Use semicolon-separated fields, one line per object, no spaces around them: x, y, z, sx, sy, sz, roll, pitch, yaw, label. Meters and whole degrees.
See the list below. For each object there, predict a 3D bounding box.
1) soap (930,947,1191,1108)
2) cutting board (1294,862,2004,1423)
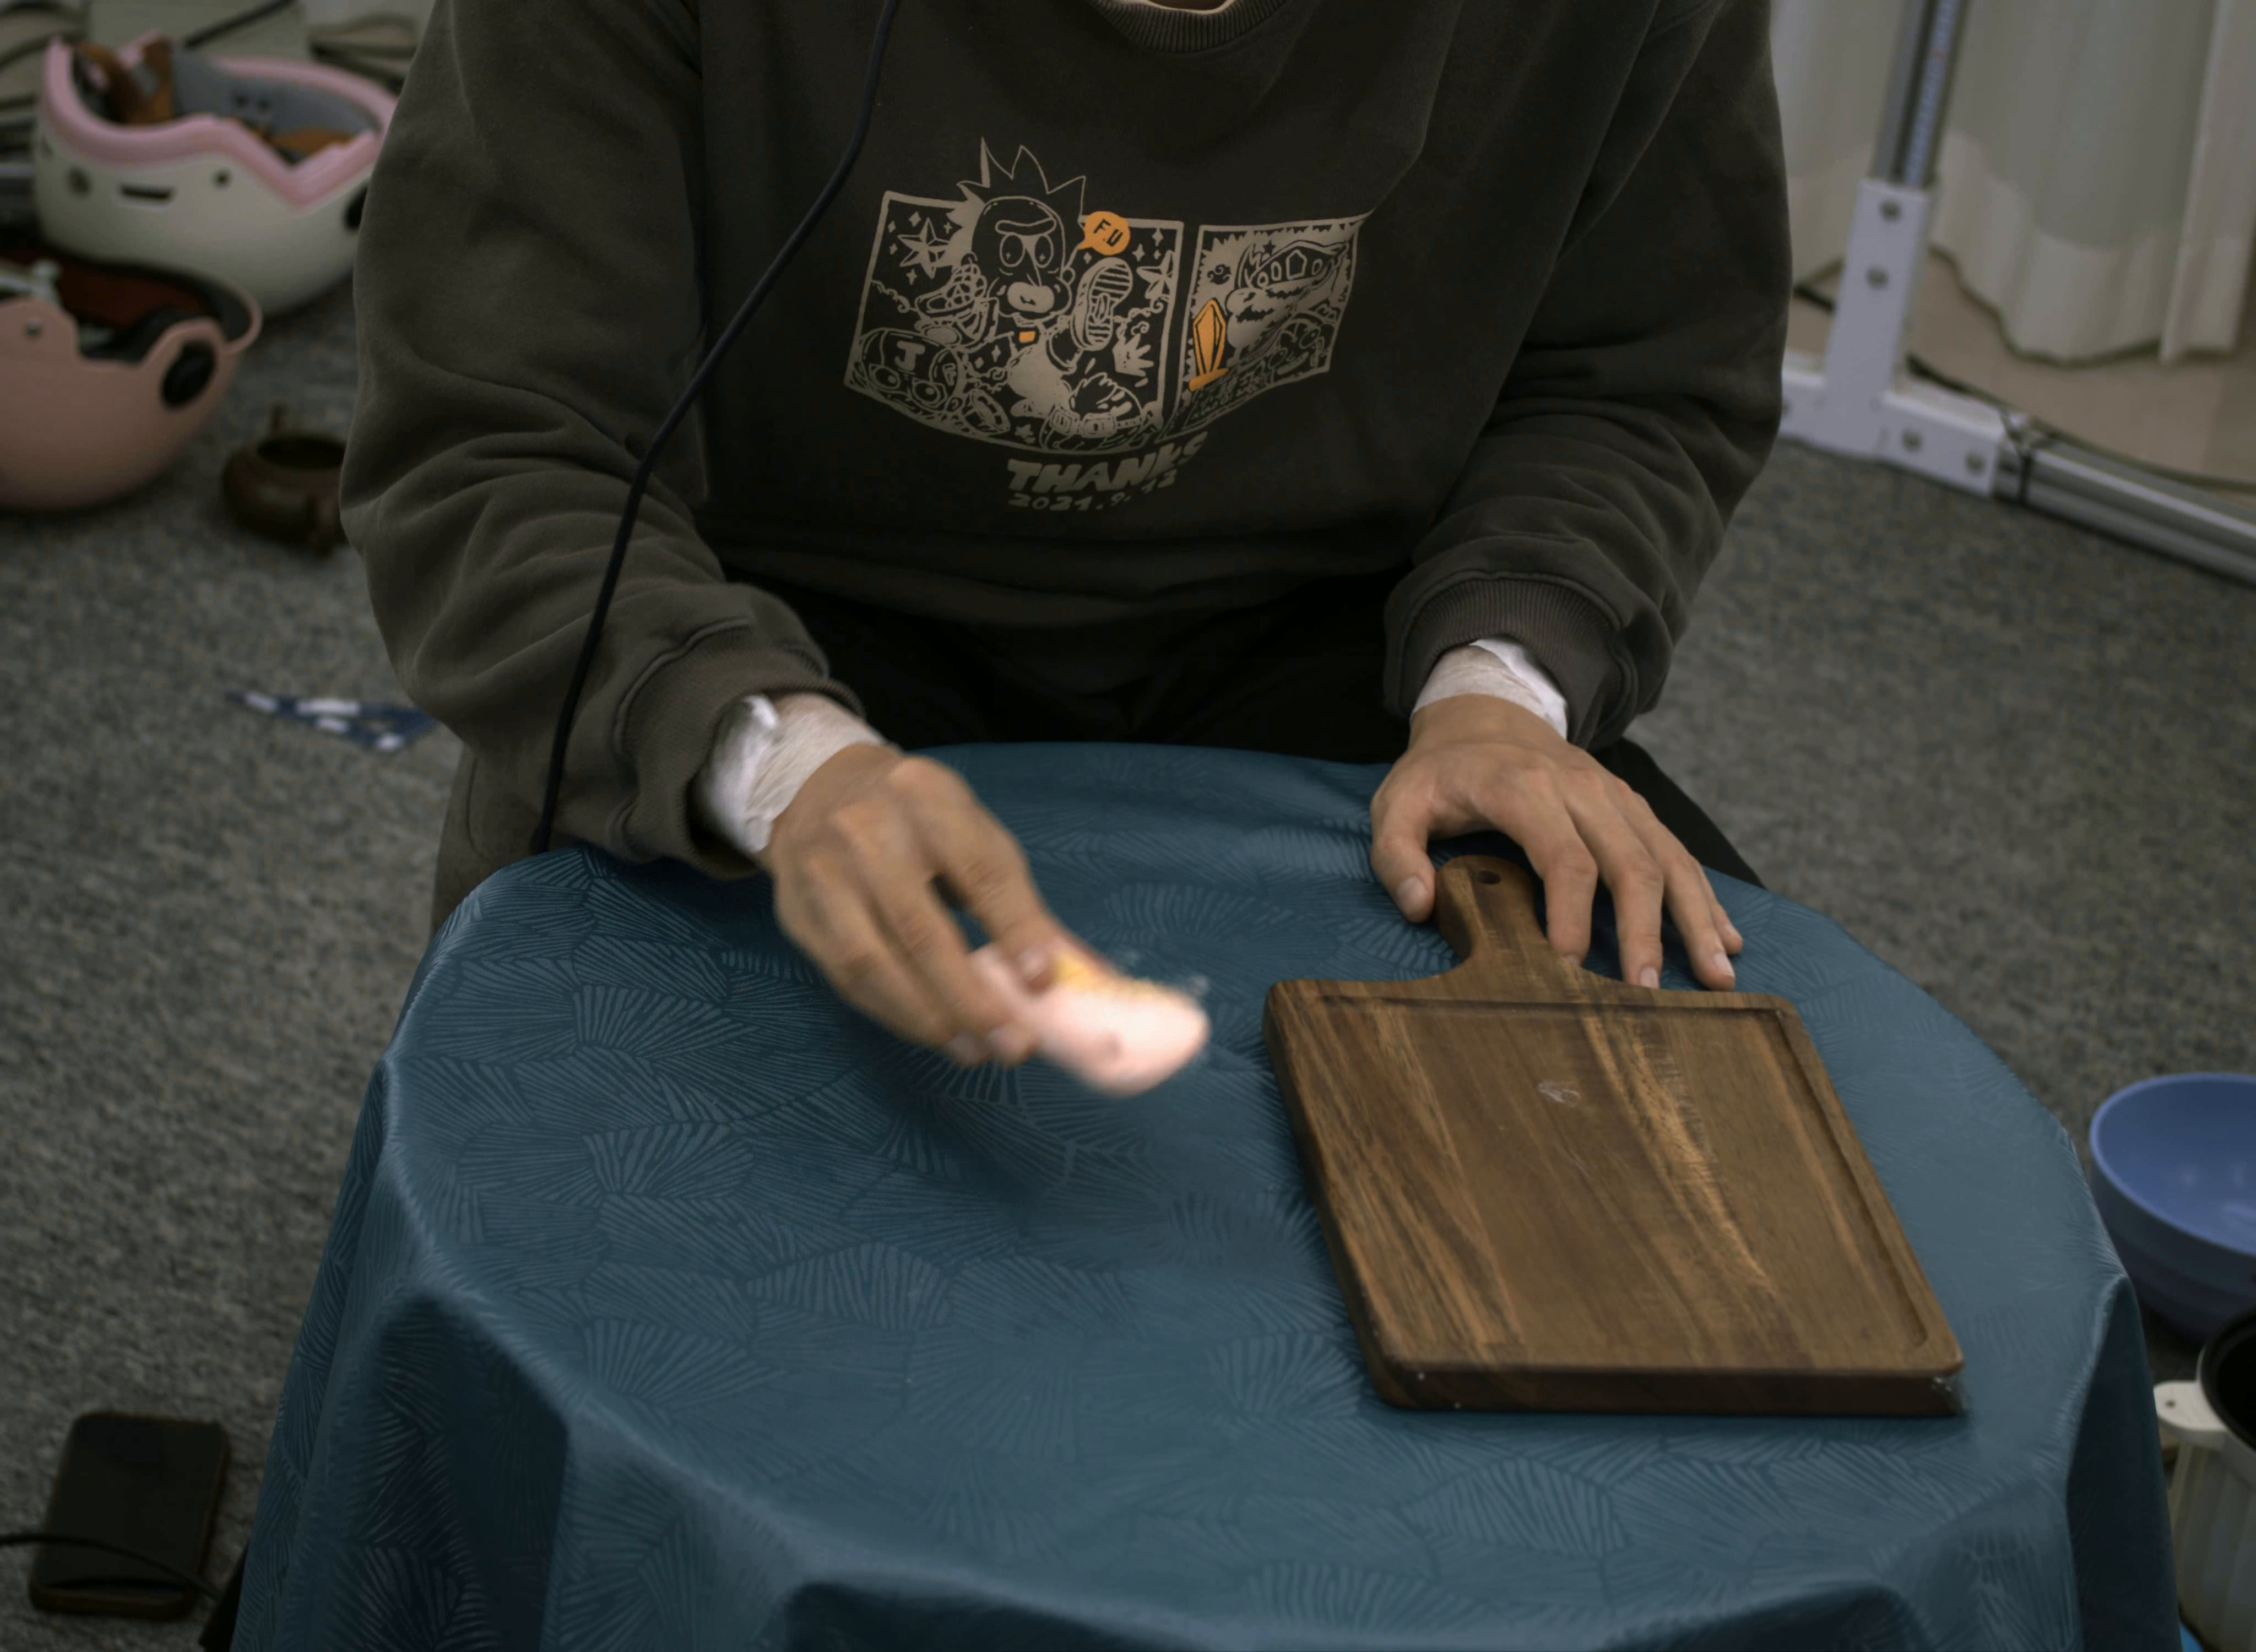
-0.023;0.067;1.782;0.095;0.030;0.050;23;33;39;soap
0.166;0.103;1.859;0.200;0.023;0.355;2;27;-9;cutting board
